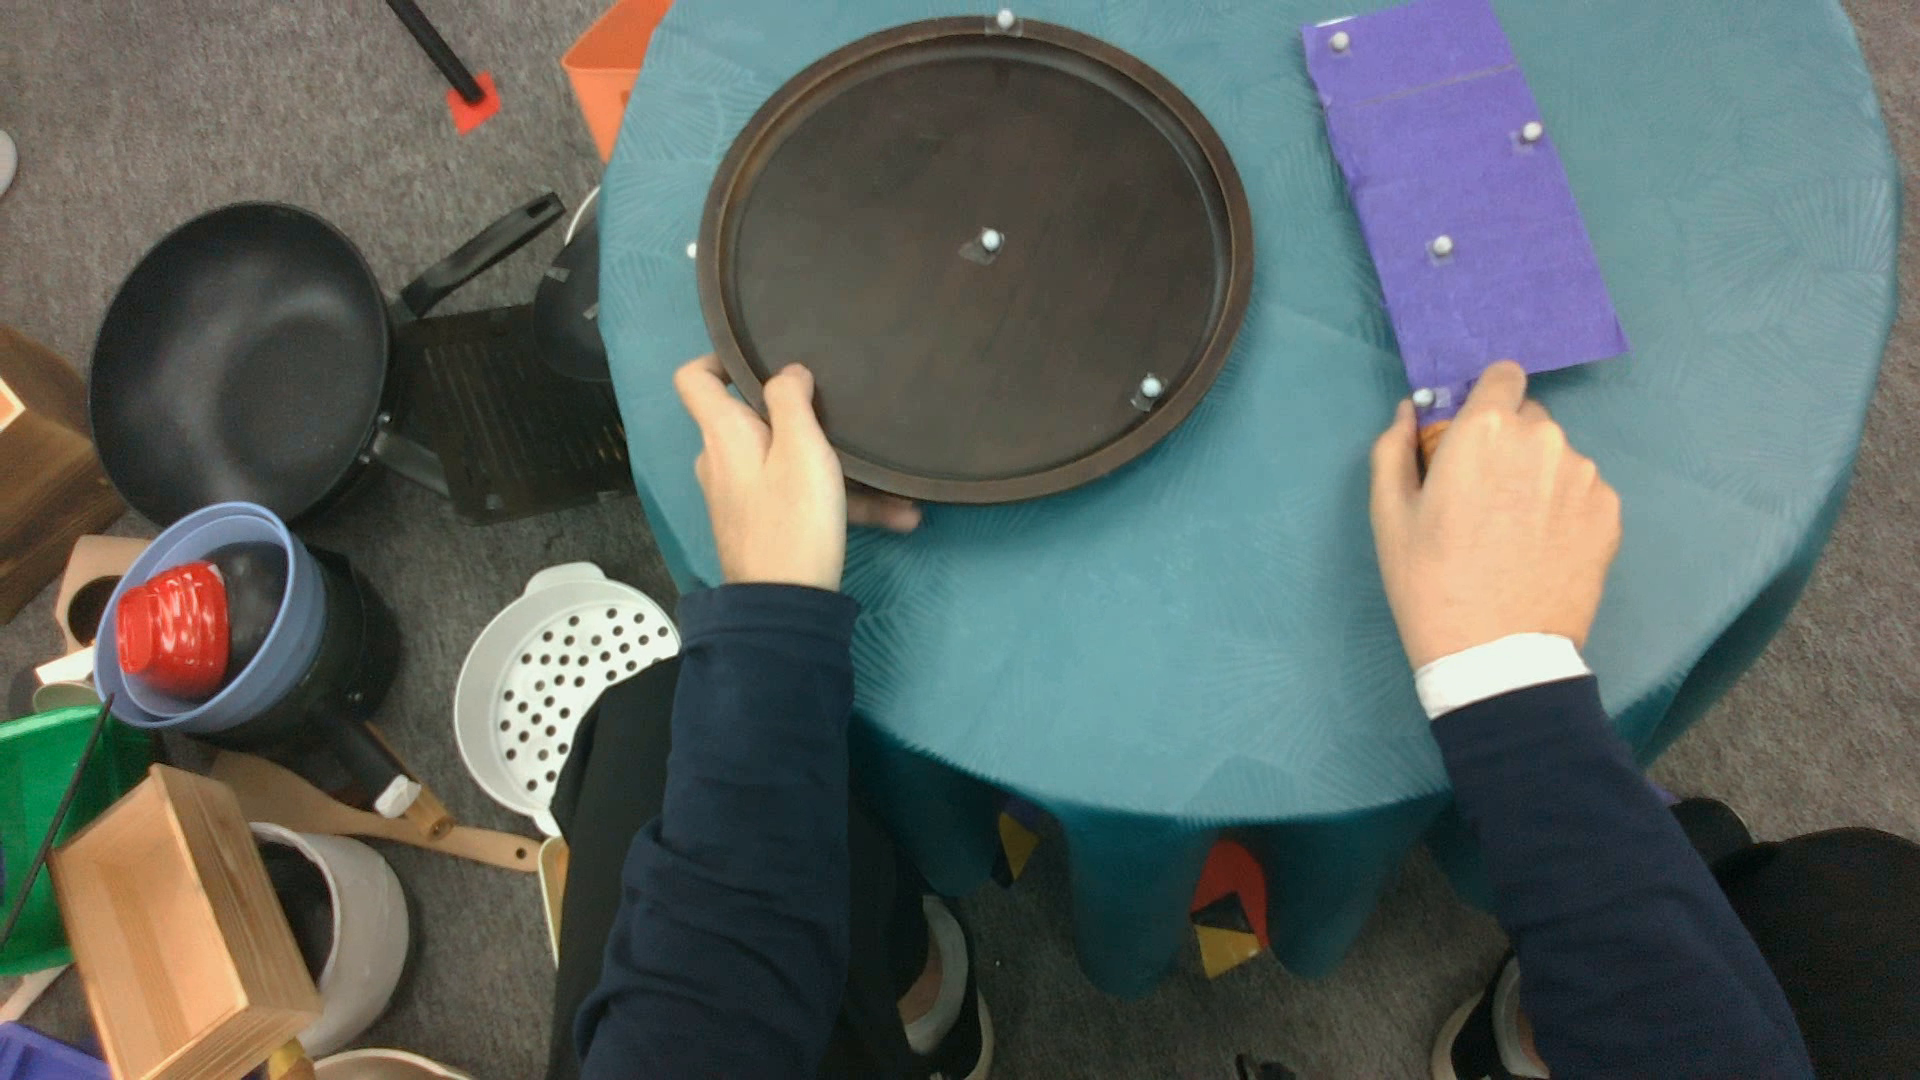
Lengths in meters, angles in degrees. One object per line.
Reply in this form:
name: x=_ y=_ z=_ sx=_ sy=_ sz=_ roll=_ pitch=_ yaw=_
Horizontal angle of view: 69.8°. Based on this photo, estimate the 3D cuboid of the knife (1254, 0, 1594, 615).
knife: x=0.218 y=-0.124 z=0.604 sx=0.104 sy=0.032 sz=0.316 roll=-13 pitch=68 yaw=5

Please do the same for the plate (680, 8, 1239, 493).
plate: x=0.000 y=-0.137 z=0.633 sx=0.255 sy=0.029 sz=0.255 roll=0 pitch=68 yaw=1
